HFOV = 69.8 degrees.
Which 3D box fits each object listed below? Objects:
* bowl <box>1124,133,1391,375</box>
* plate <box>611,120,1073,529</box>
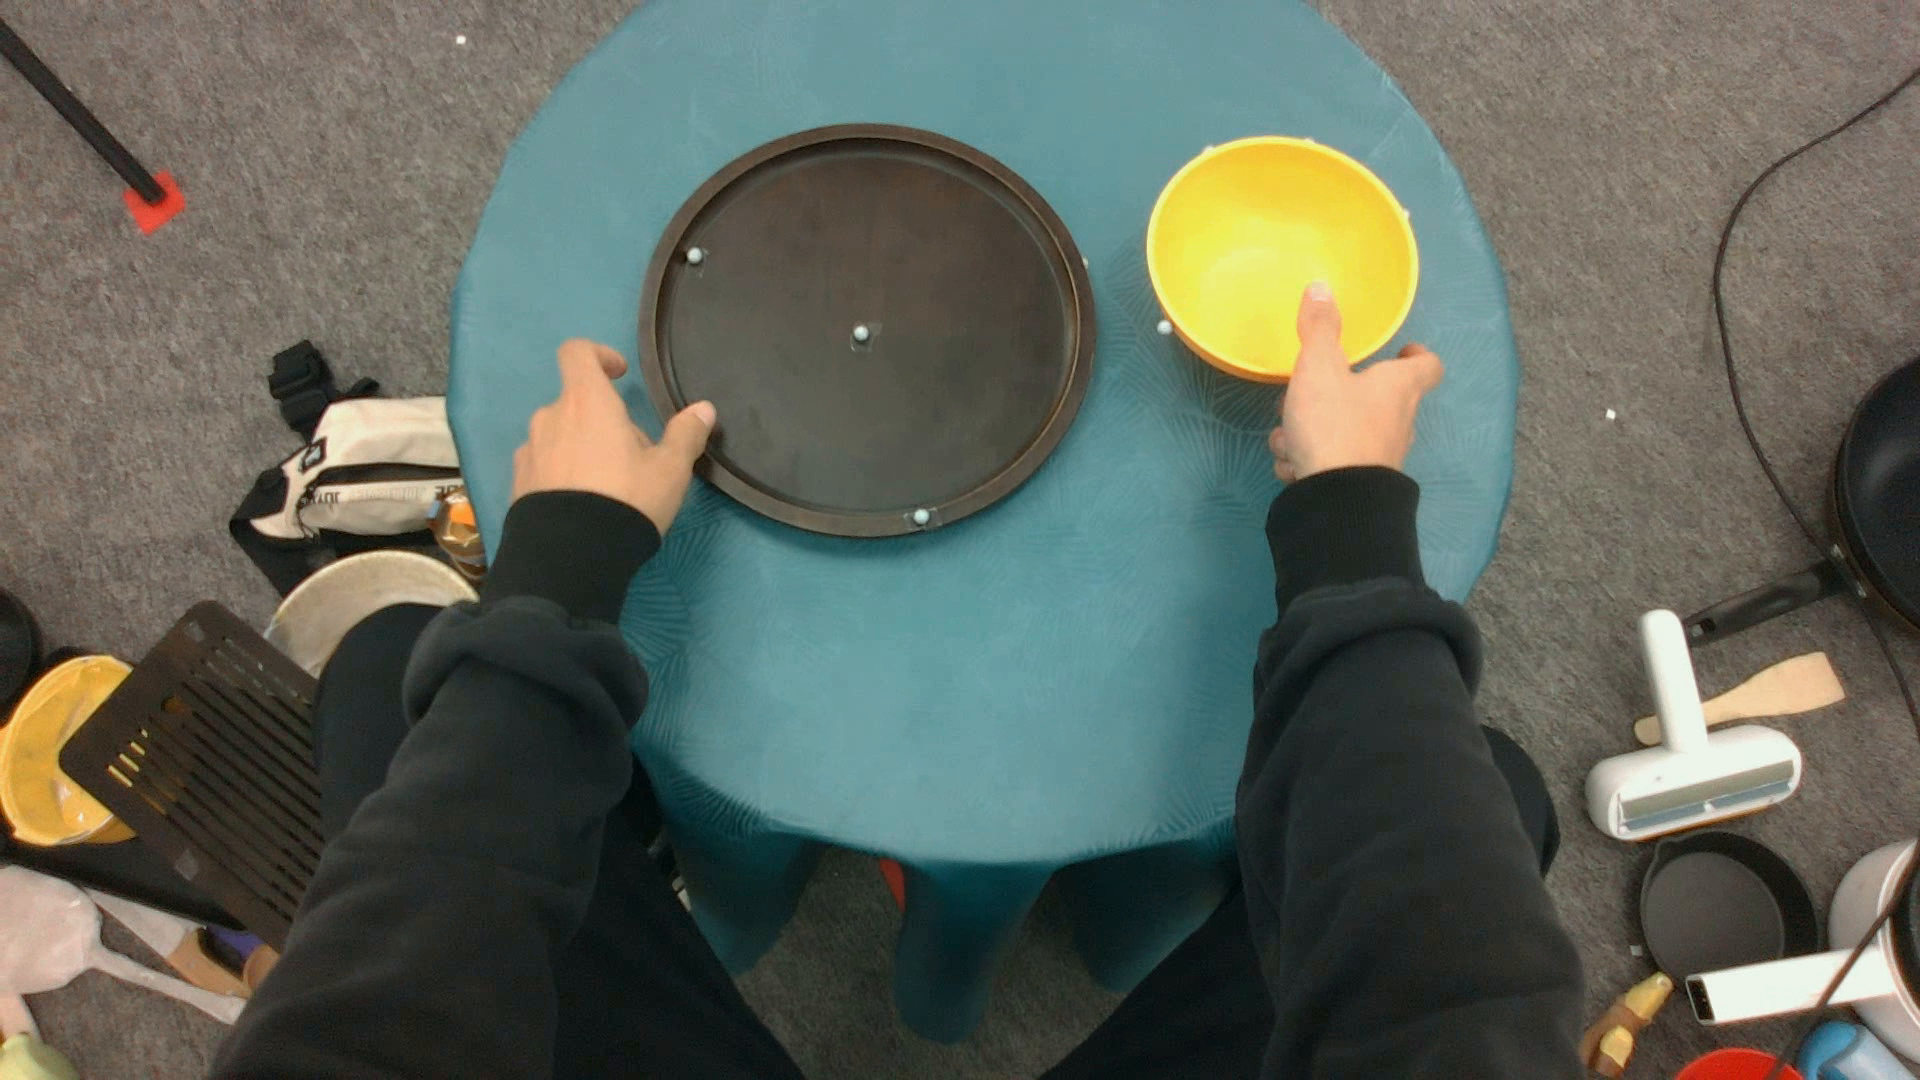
[{"bbox_3d":[0.160,-0.150,0.770,0.145,0.060,0.145,0,73,-1],"label":"bowl"},{"bbox_3d":[-0.064,-0.123,0.764,0.255,0.029,0.255,2,71,-5],"label":"plate"}]
